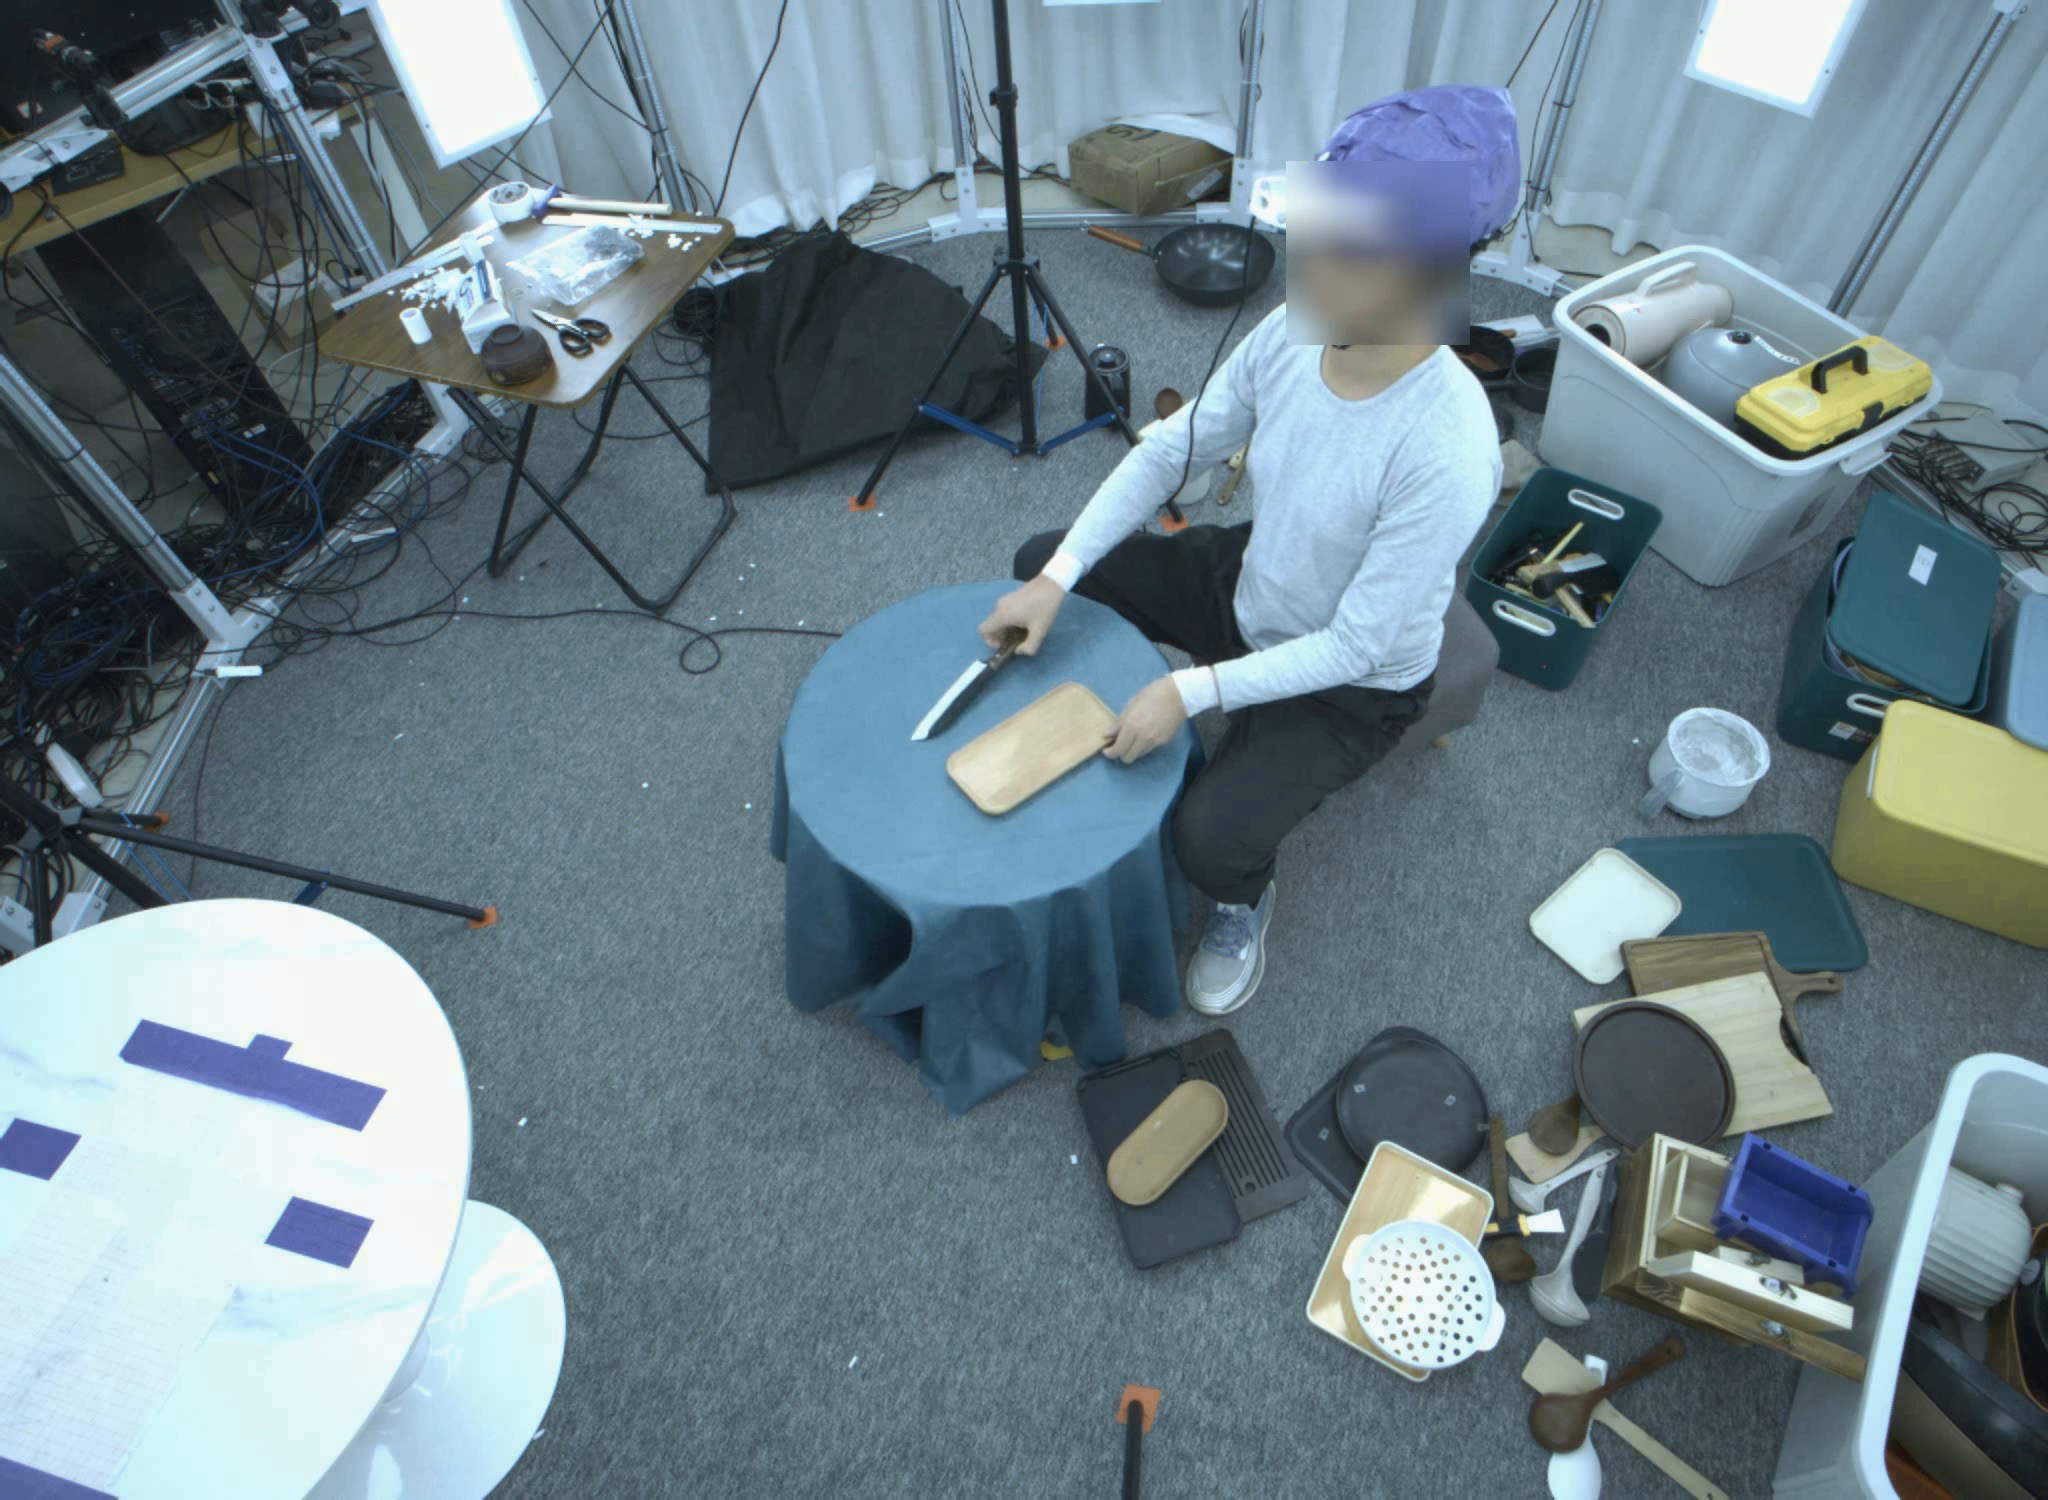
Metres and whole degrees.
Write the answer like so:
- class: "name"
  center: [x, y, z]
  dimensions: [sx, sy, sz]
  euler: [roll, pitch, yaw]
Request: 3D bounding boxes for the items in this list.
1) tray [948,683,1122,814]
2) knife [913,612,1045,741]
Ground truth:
- class: "tray"
  center: [0.017, -0.004, 1.788]
  dimensions: [0.253, 0.023, 0.128]
  euler: [-31, 61, -20]
- class: "knife"
  center: [-0.068, -0.111, 1.855]
  dimensions: [0.049, 0.020, 0.290]
  euler: [30, 66, 34]
